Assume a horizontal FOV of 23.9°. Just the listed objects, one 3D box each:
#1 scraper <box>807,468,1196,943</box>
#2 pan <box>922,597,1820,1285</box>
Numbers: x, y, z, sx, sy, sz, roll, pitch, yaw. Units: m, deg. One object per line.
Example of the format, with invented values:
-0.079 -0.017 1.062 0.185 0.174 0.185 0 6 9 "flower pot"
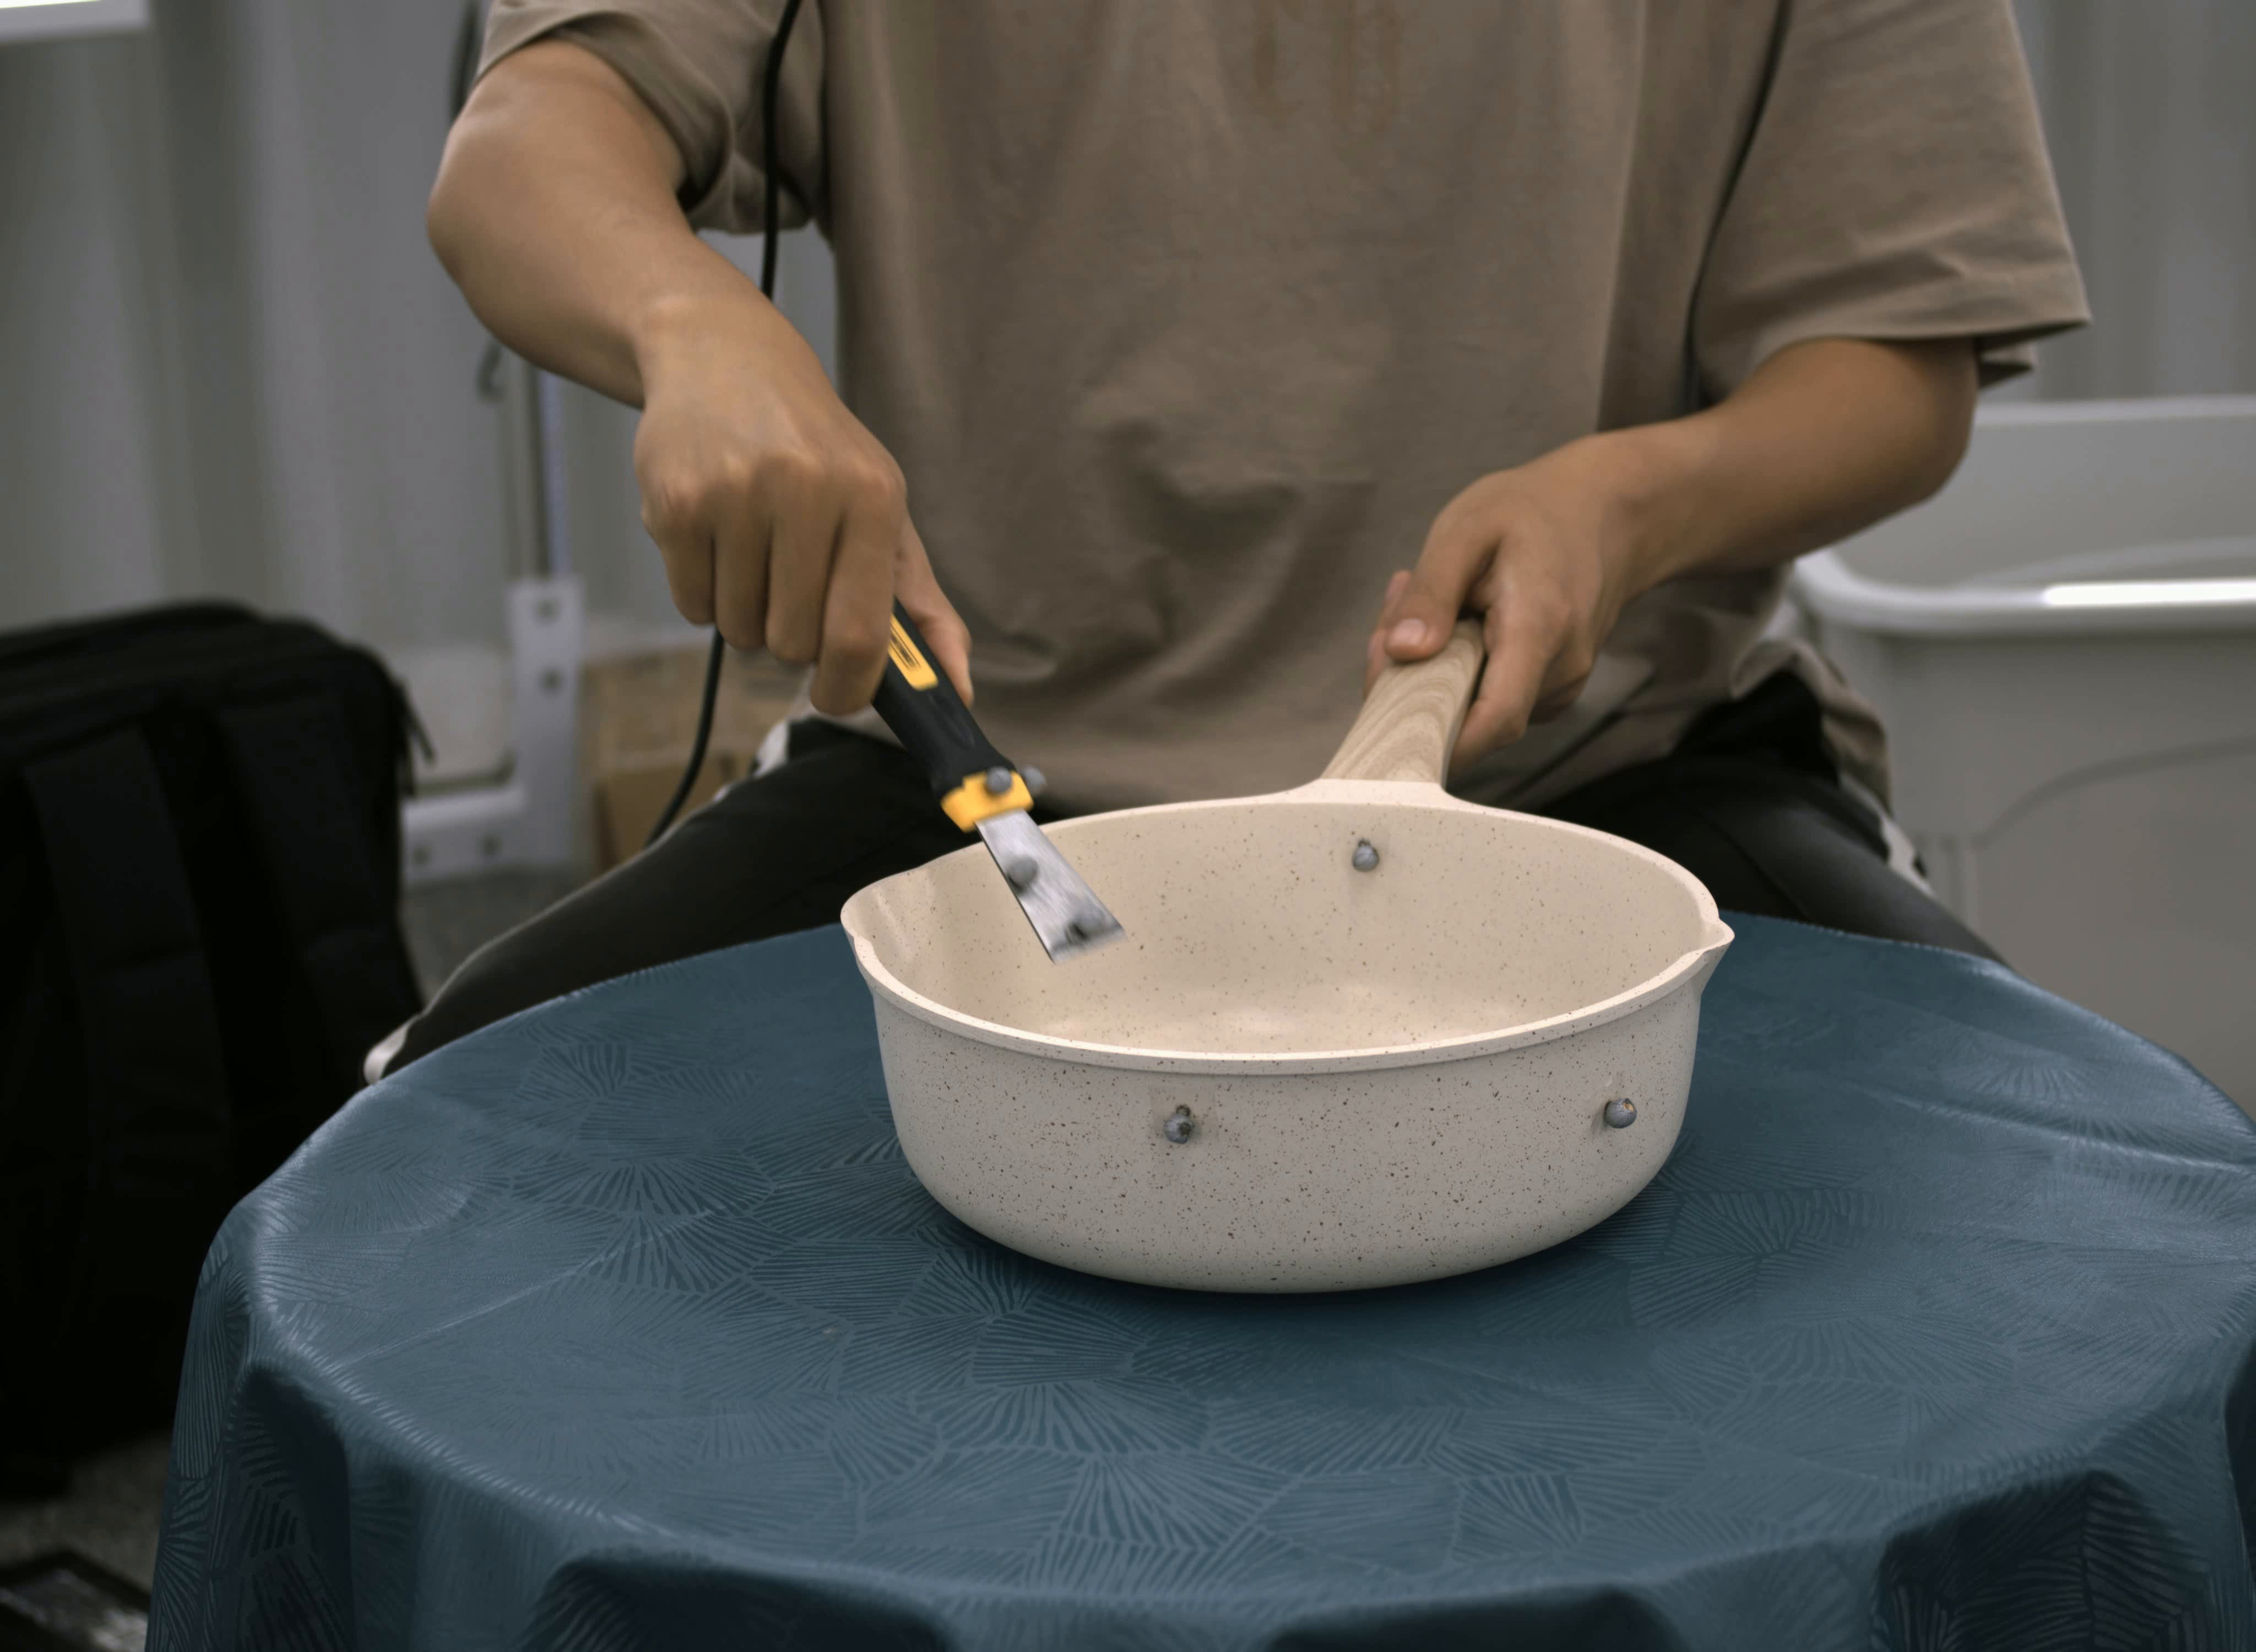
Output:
-0.041 -0.037 1.575 0.038 0.173 0.015 -23 -20 -41 "scraper"
0.091 0.031 1.629 0.265 0.102 0.432 -1 16 14 "pan"
